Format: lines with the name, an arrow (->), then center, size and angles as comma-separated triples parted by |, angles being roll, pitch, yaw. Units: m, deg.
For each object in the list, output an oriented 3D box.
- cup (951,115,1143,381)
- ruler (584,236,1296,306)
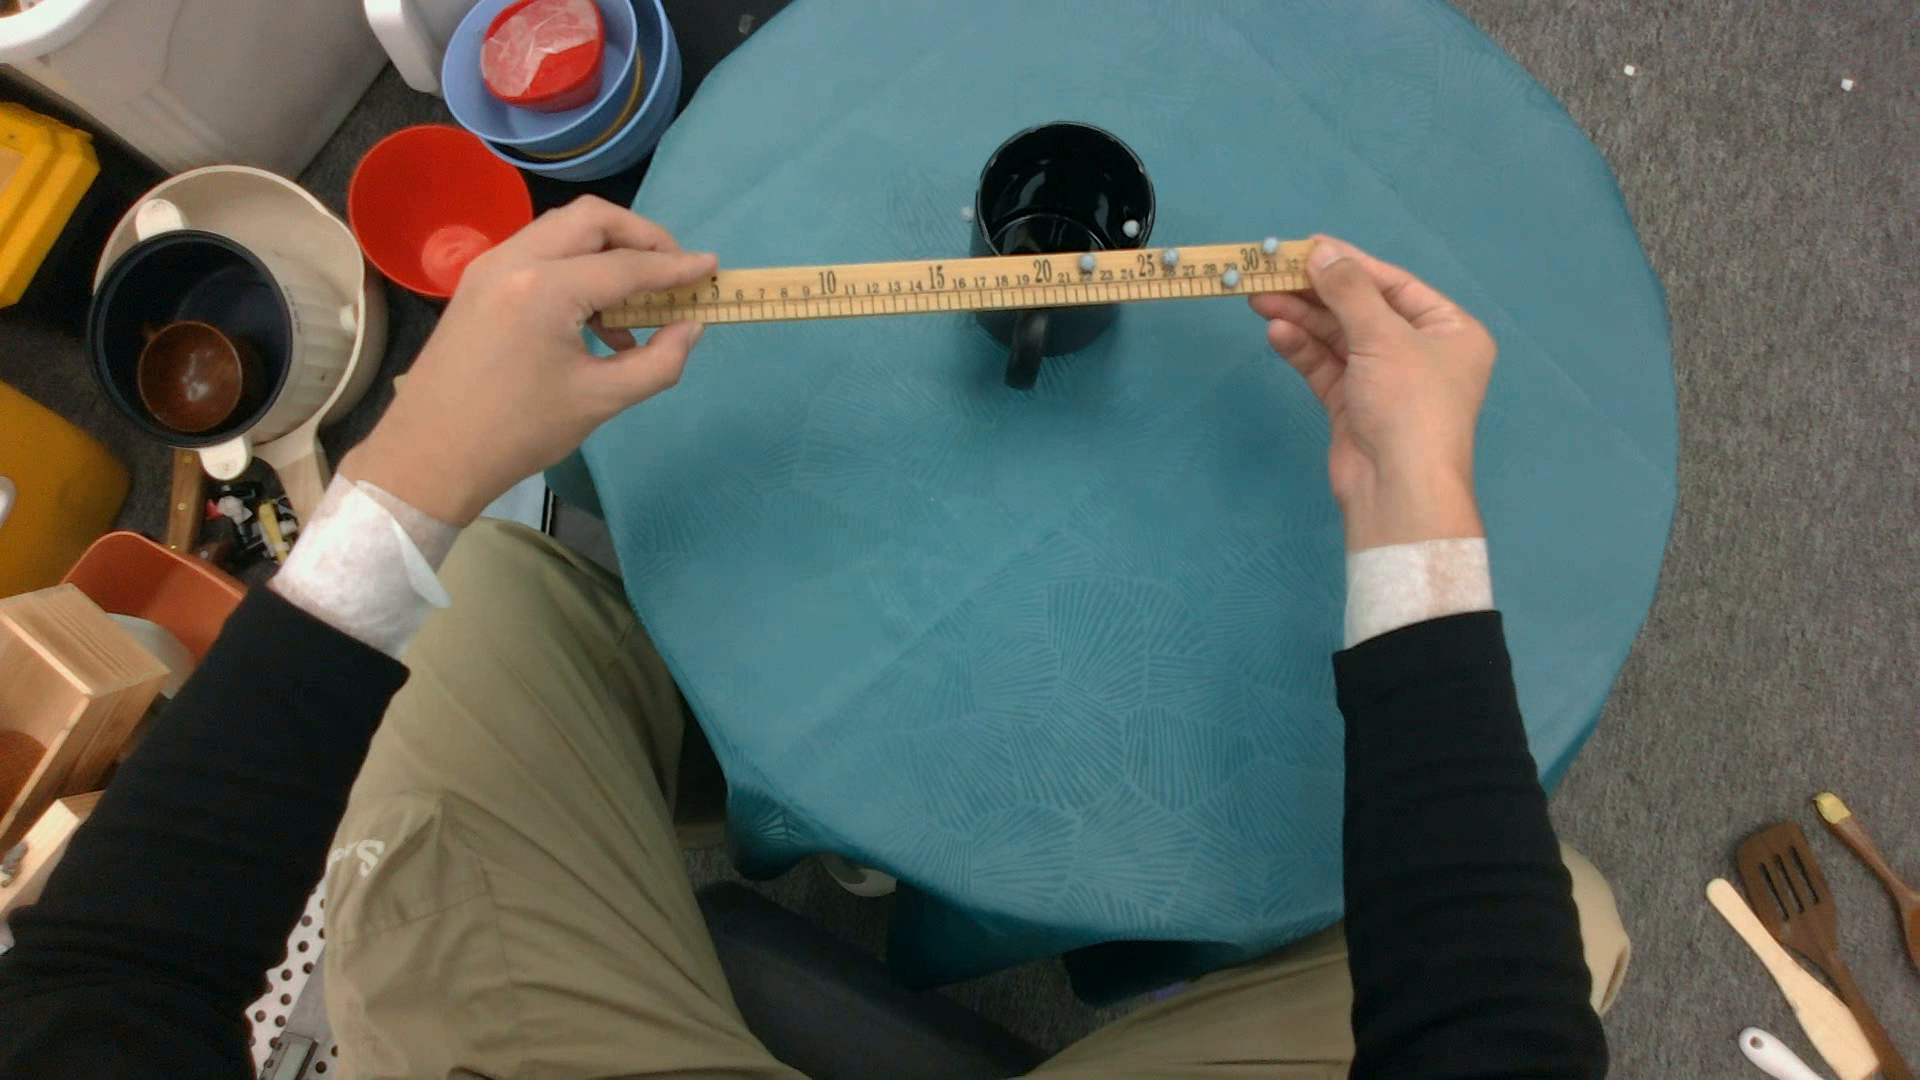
cup -> 0.037, -0.141, 0.714 | 0.088, 0.105, 0.124 | 17, 79, -2
ruler -> -0.003, -0.125, 0.635 | 0.332, 0.022, 0.027 | -3, 73, -8
